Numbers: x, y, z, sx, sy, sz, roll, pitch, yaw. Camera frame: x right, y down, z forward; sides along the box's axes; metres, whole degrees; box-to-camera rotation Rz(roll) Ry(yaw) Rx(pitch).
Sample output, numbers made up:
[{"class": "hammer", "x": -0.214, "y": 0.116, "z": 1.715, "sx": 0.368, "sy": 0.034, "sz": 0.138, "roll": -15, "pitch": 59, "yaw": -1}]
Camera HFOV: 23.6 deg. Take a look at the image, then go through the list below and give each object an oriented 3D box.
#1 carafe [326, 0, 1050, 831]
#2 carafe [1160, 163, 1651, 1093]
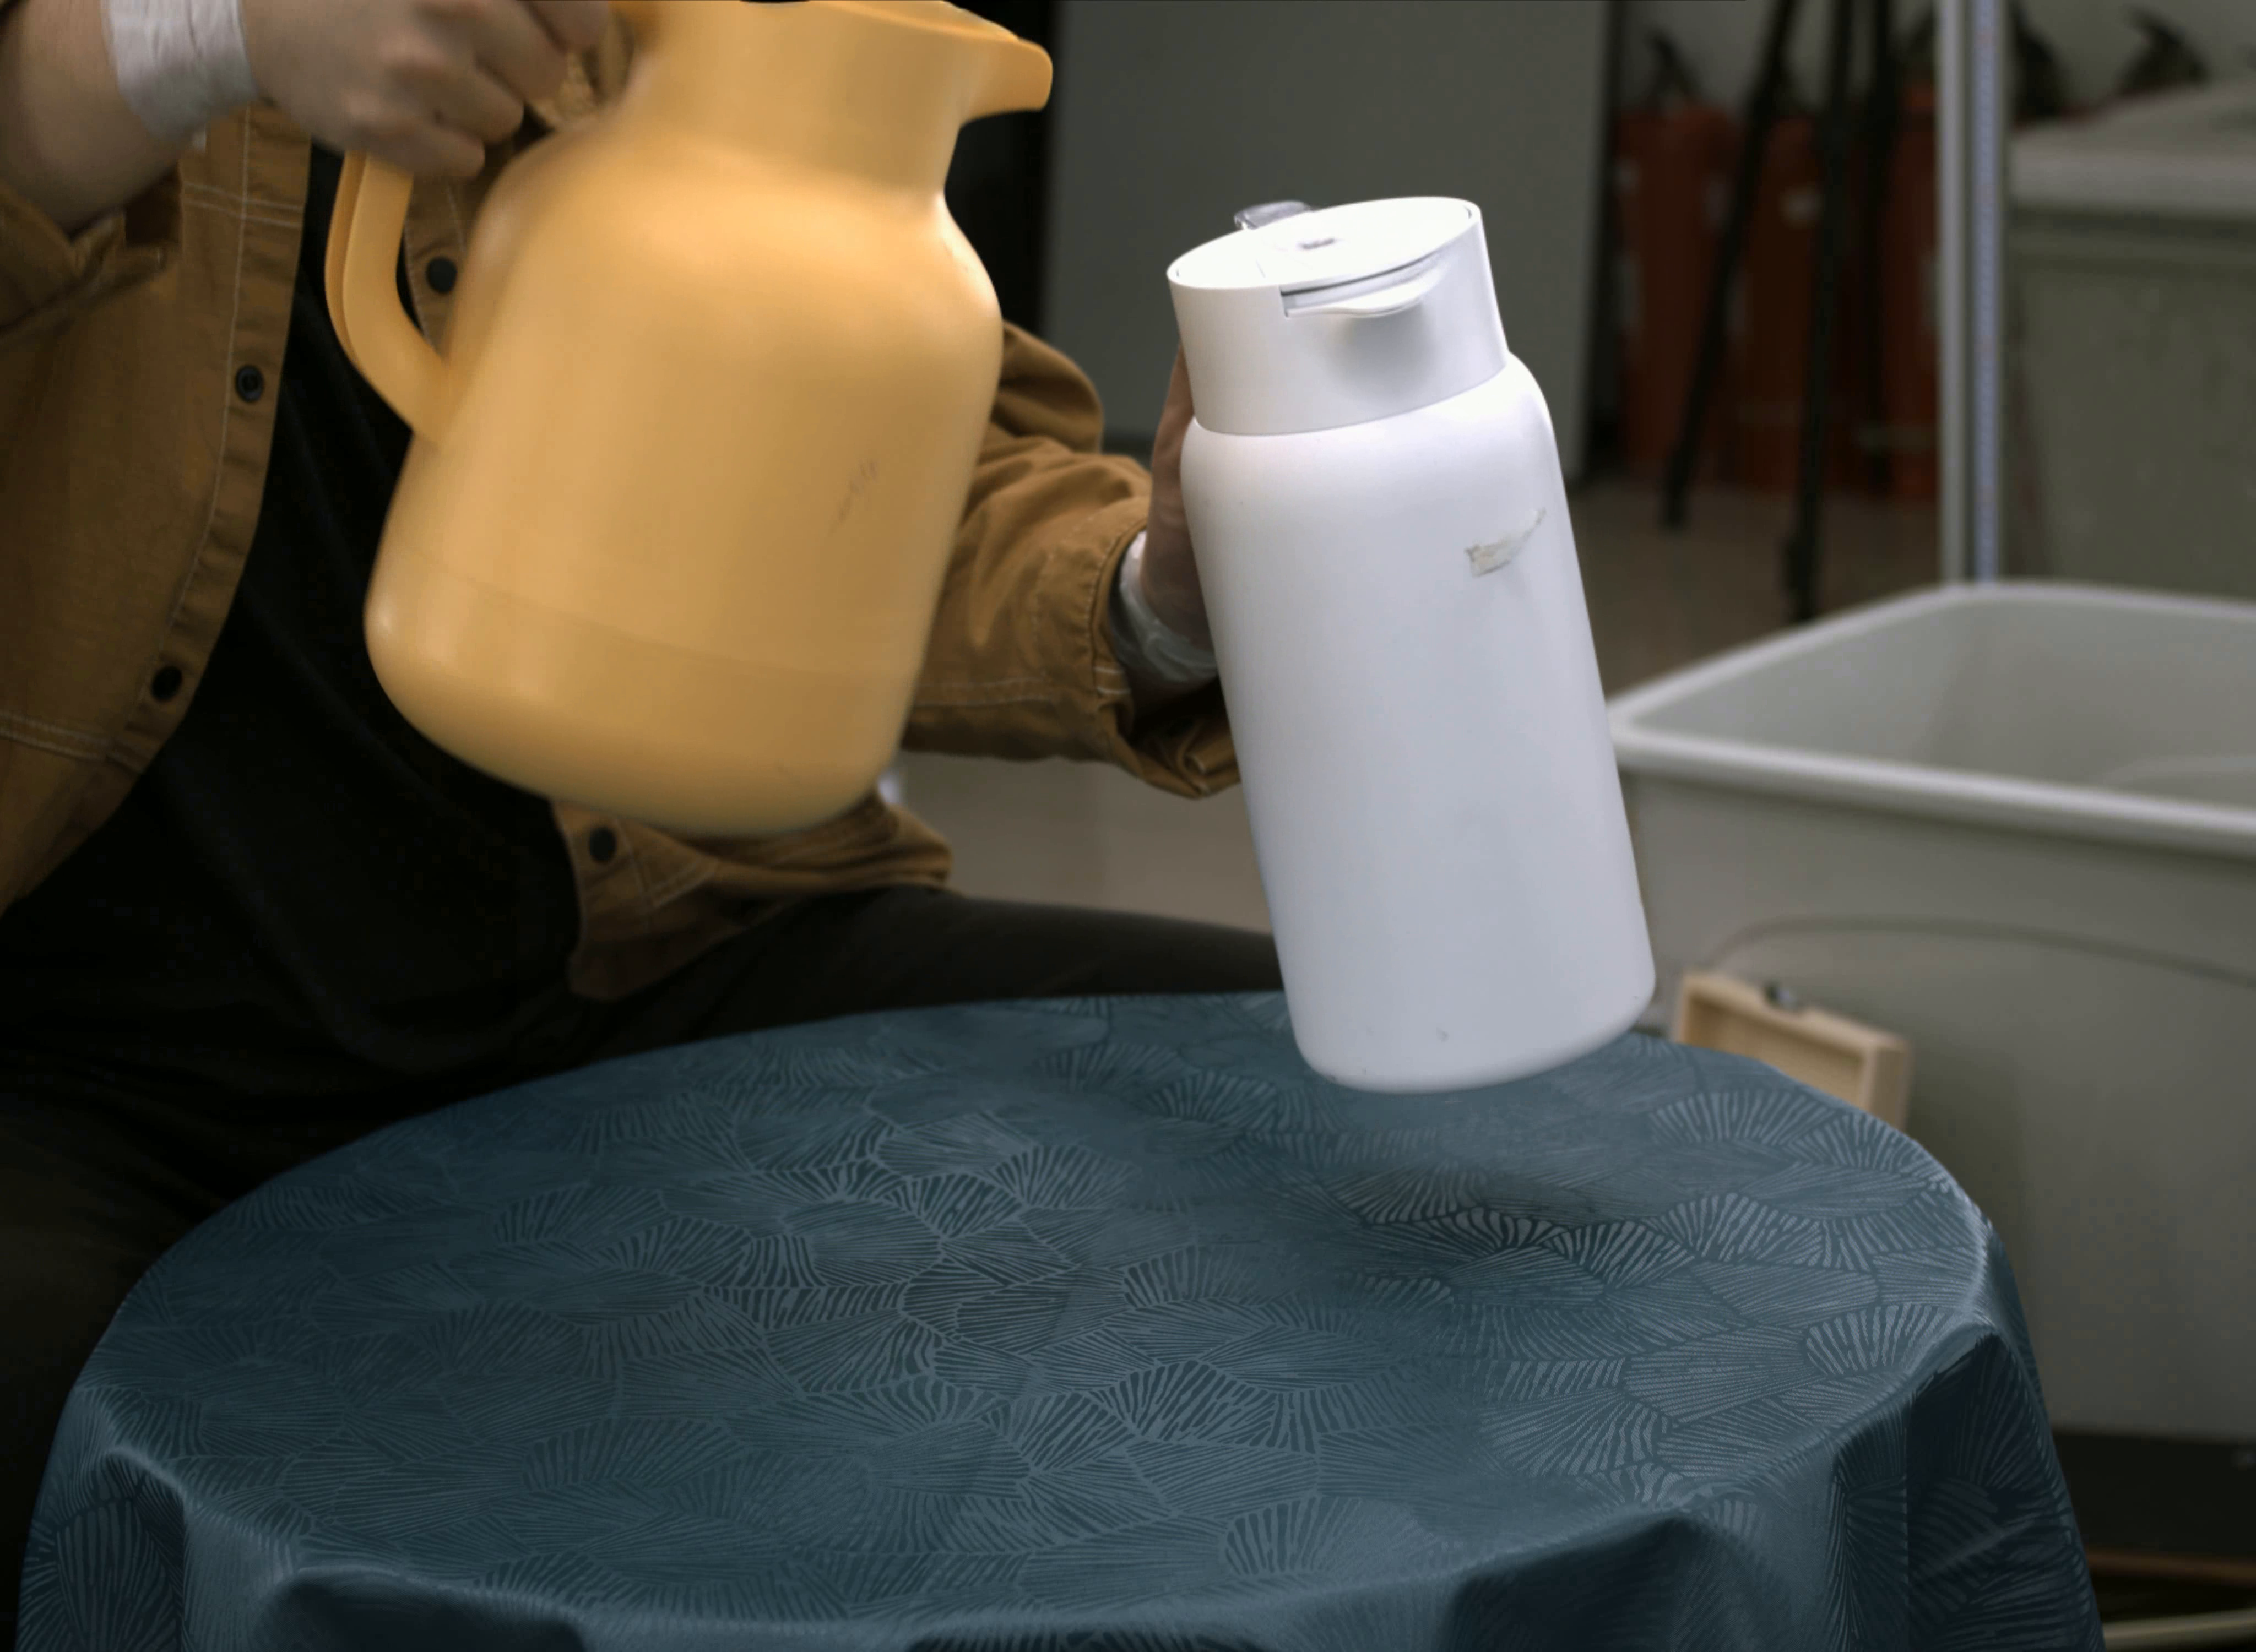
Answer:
[{"class": "carafe", "x": -0.136, "y": -0.144, "z": 1.568, "sx": 0.198, "sy": 0.263, "sz": 0.165, "roll": 12, "pitch": 8, "yaw": -20}, {"class": "carafe", "x": 0.078, "y": -0.064, "z": 1.691, "sx": 0.122, "sy": 0.271, "sz": 0.174, "roll": -18, "pitch": 17, "yaw": -10}]
